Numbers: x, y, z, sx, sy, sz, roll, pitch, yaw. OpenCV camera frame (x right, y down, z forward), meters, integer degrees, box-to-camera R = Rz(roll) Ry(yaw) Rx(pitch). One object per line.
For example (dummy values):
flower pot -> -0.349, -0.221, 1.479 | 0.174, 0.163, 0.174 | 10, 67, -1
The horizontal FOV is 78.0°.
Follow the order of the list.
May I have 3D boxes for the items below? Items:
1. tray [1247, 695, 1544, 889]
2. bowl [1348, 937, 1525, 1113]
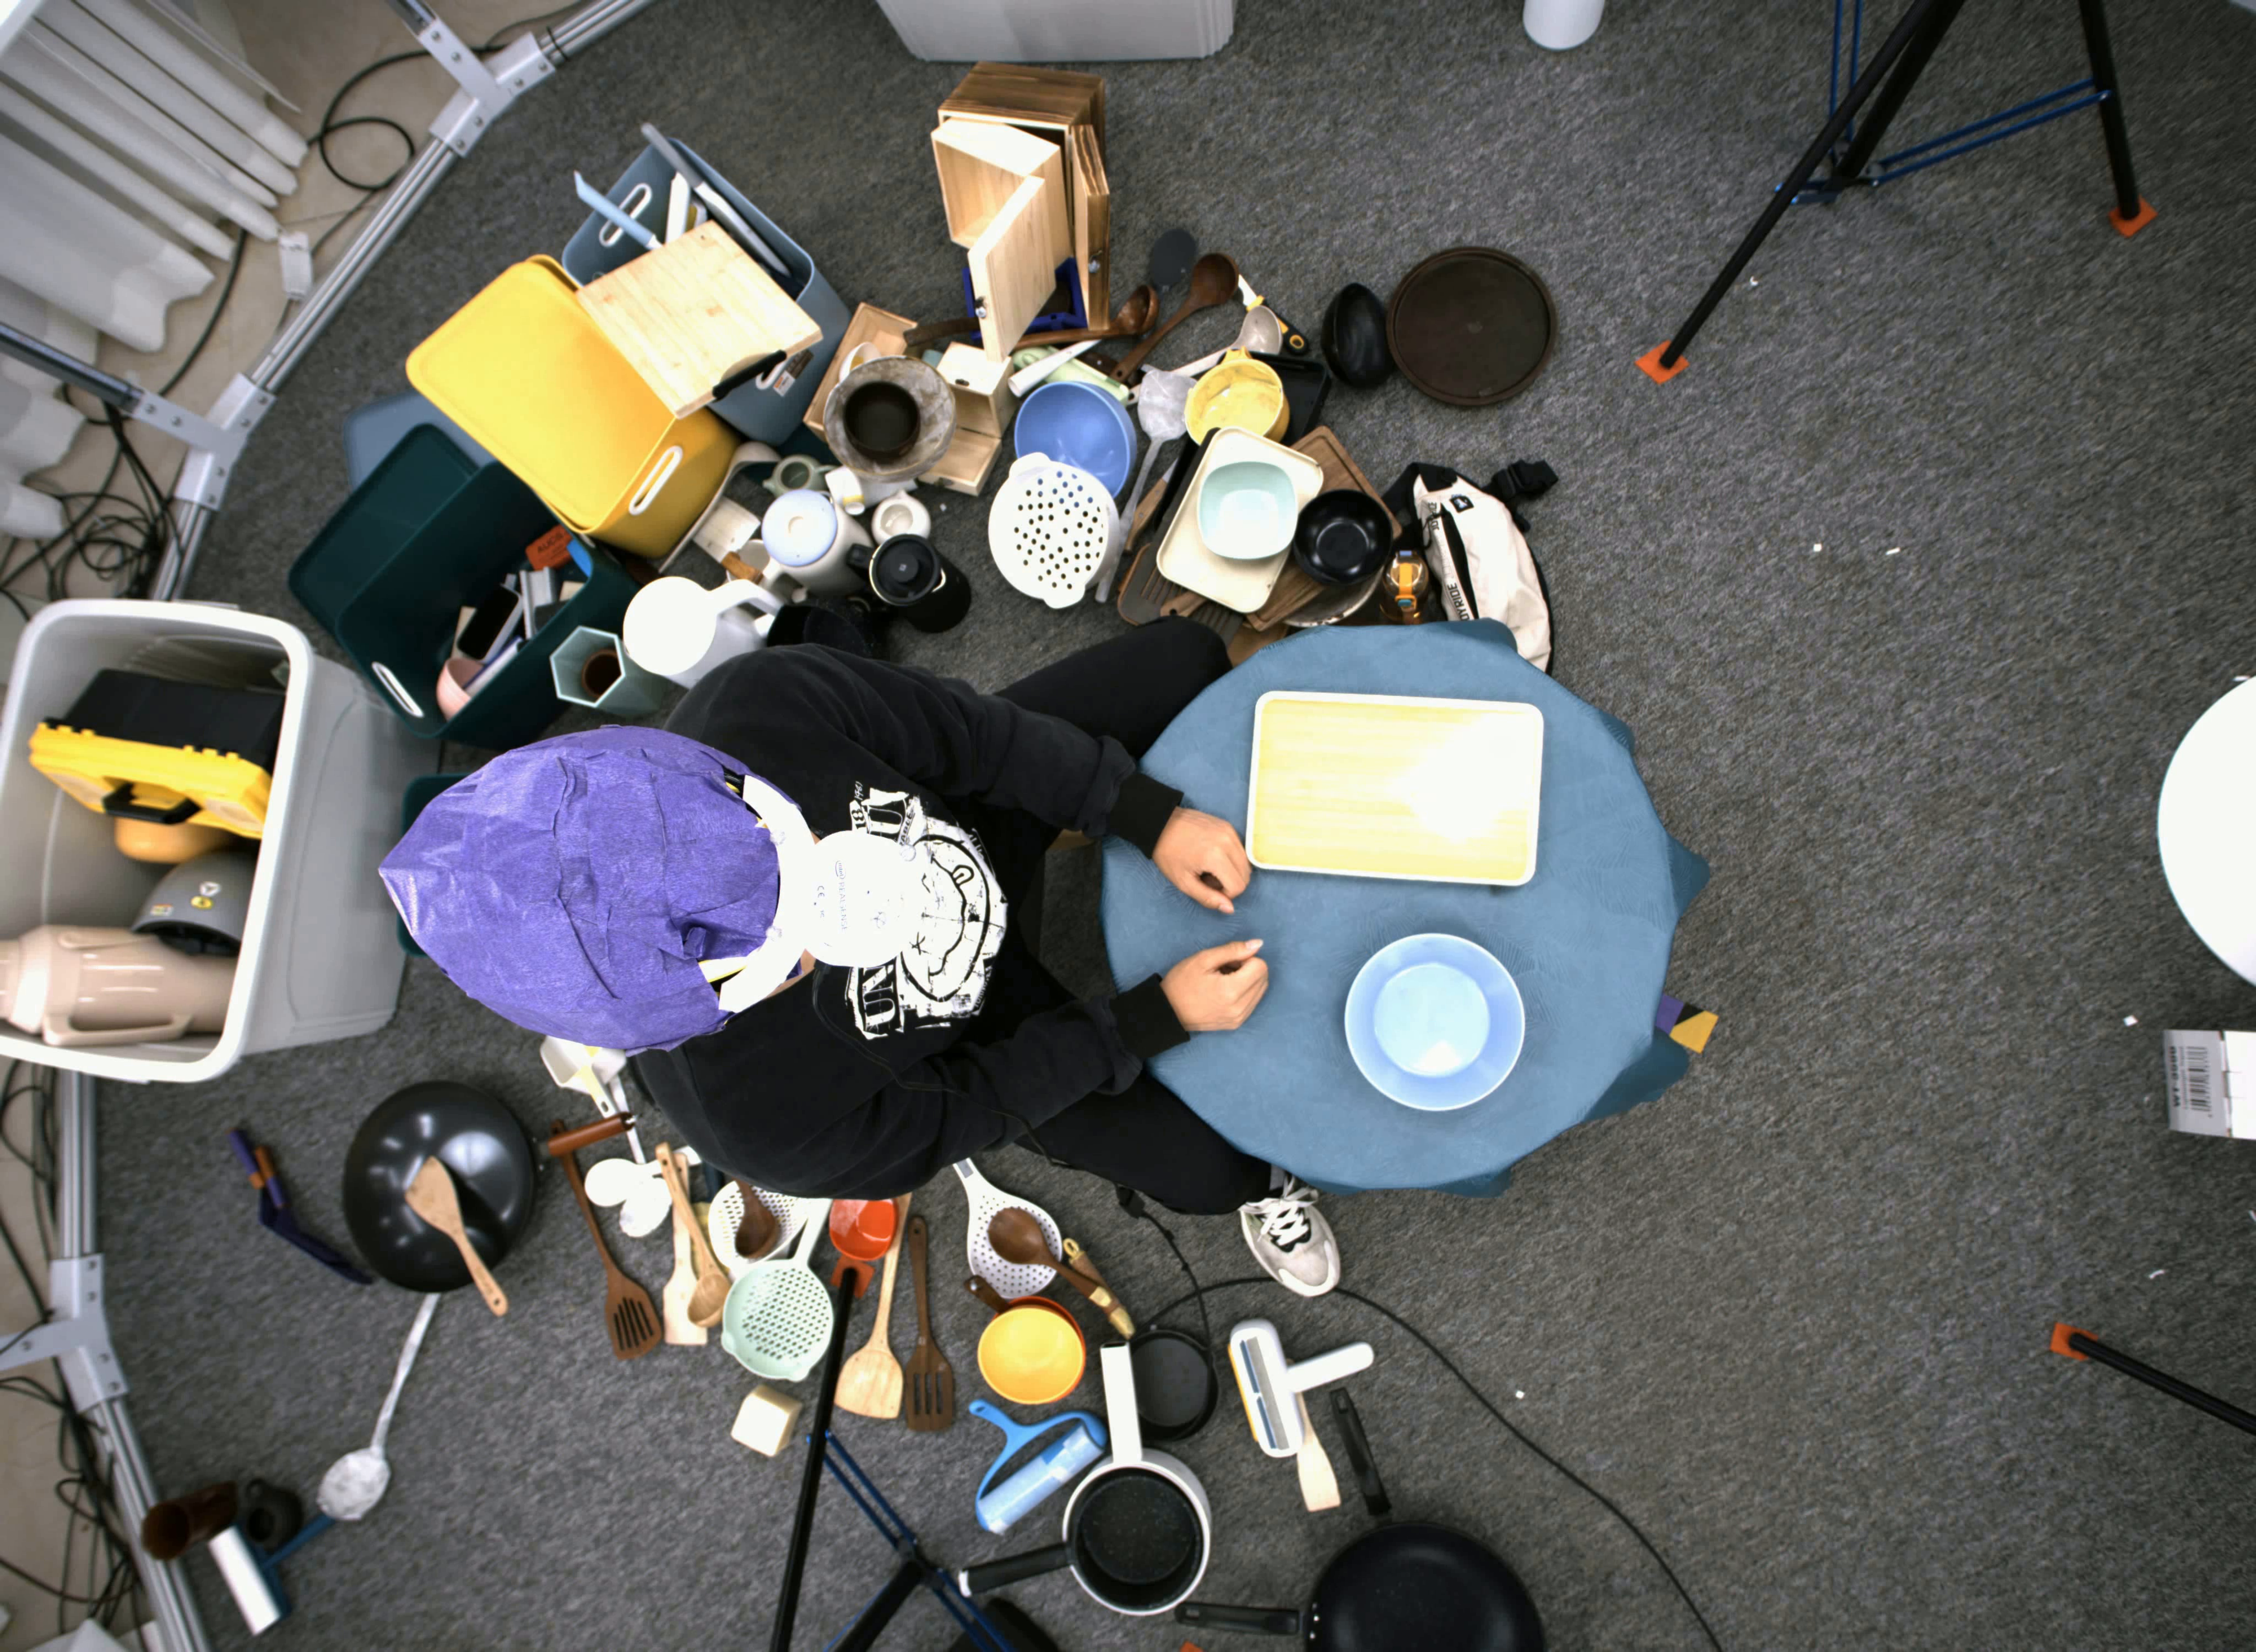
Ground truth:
tray -> 0.282, -0.039, 1.457 | 0.301, 0.027, 0.191 | 4, 87, 10
bowl -> 0.313, 0.201, 1.412 | 0.177, 0.070, 0.175 | -1, 85, 10
